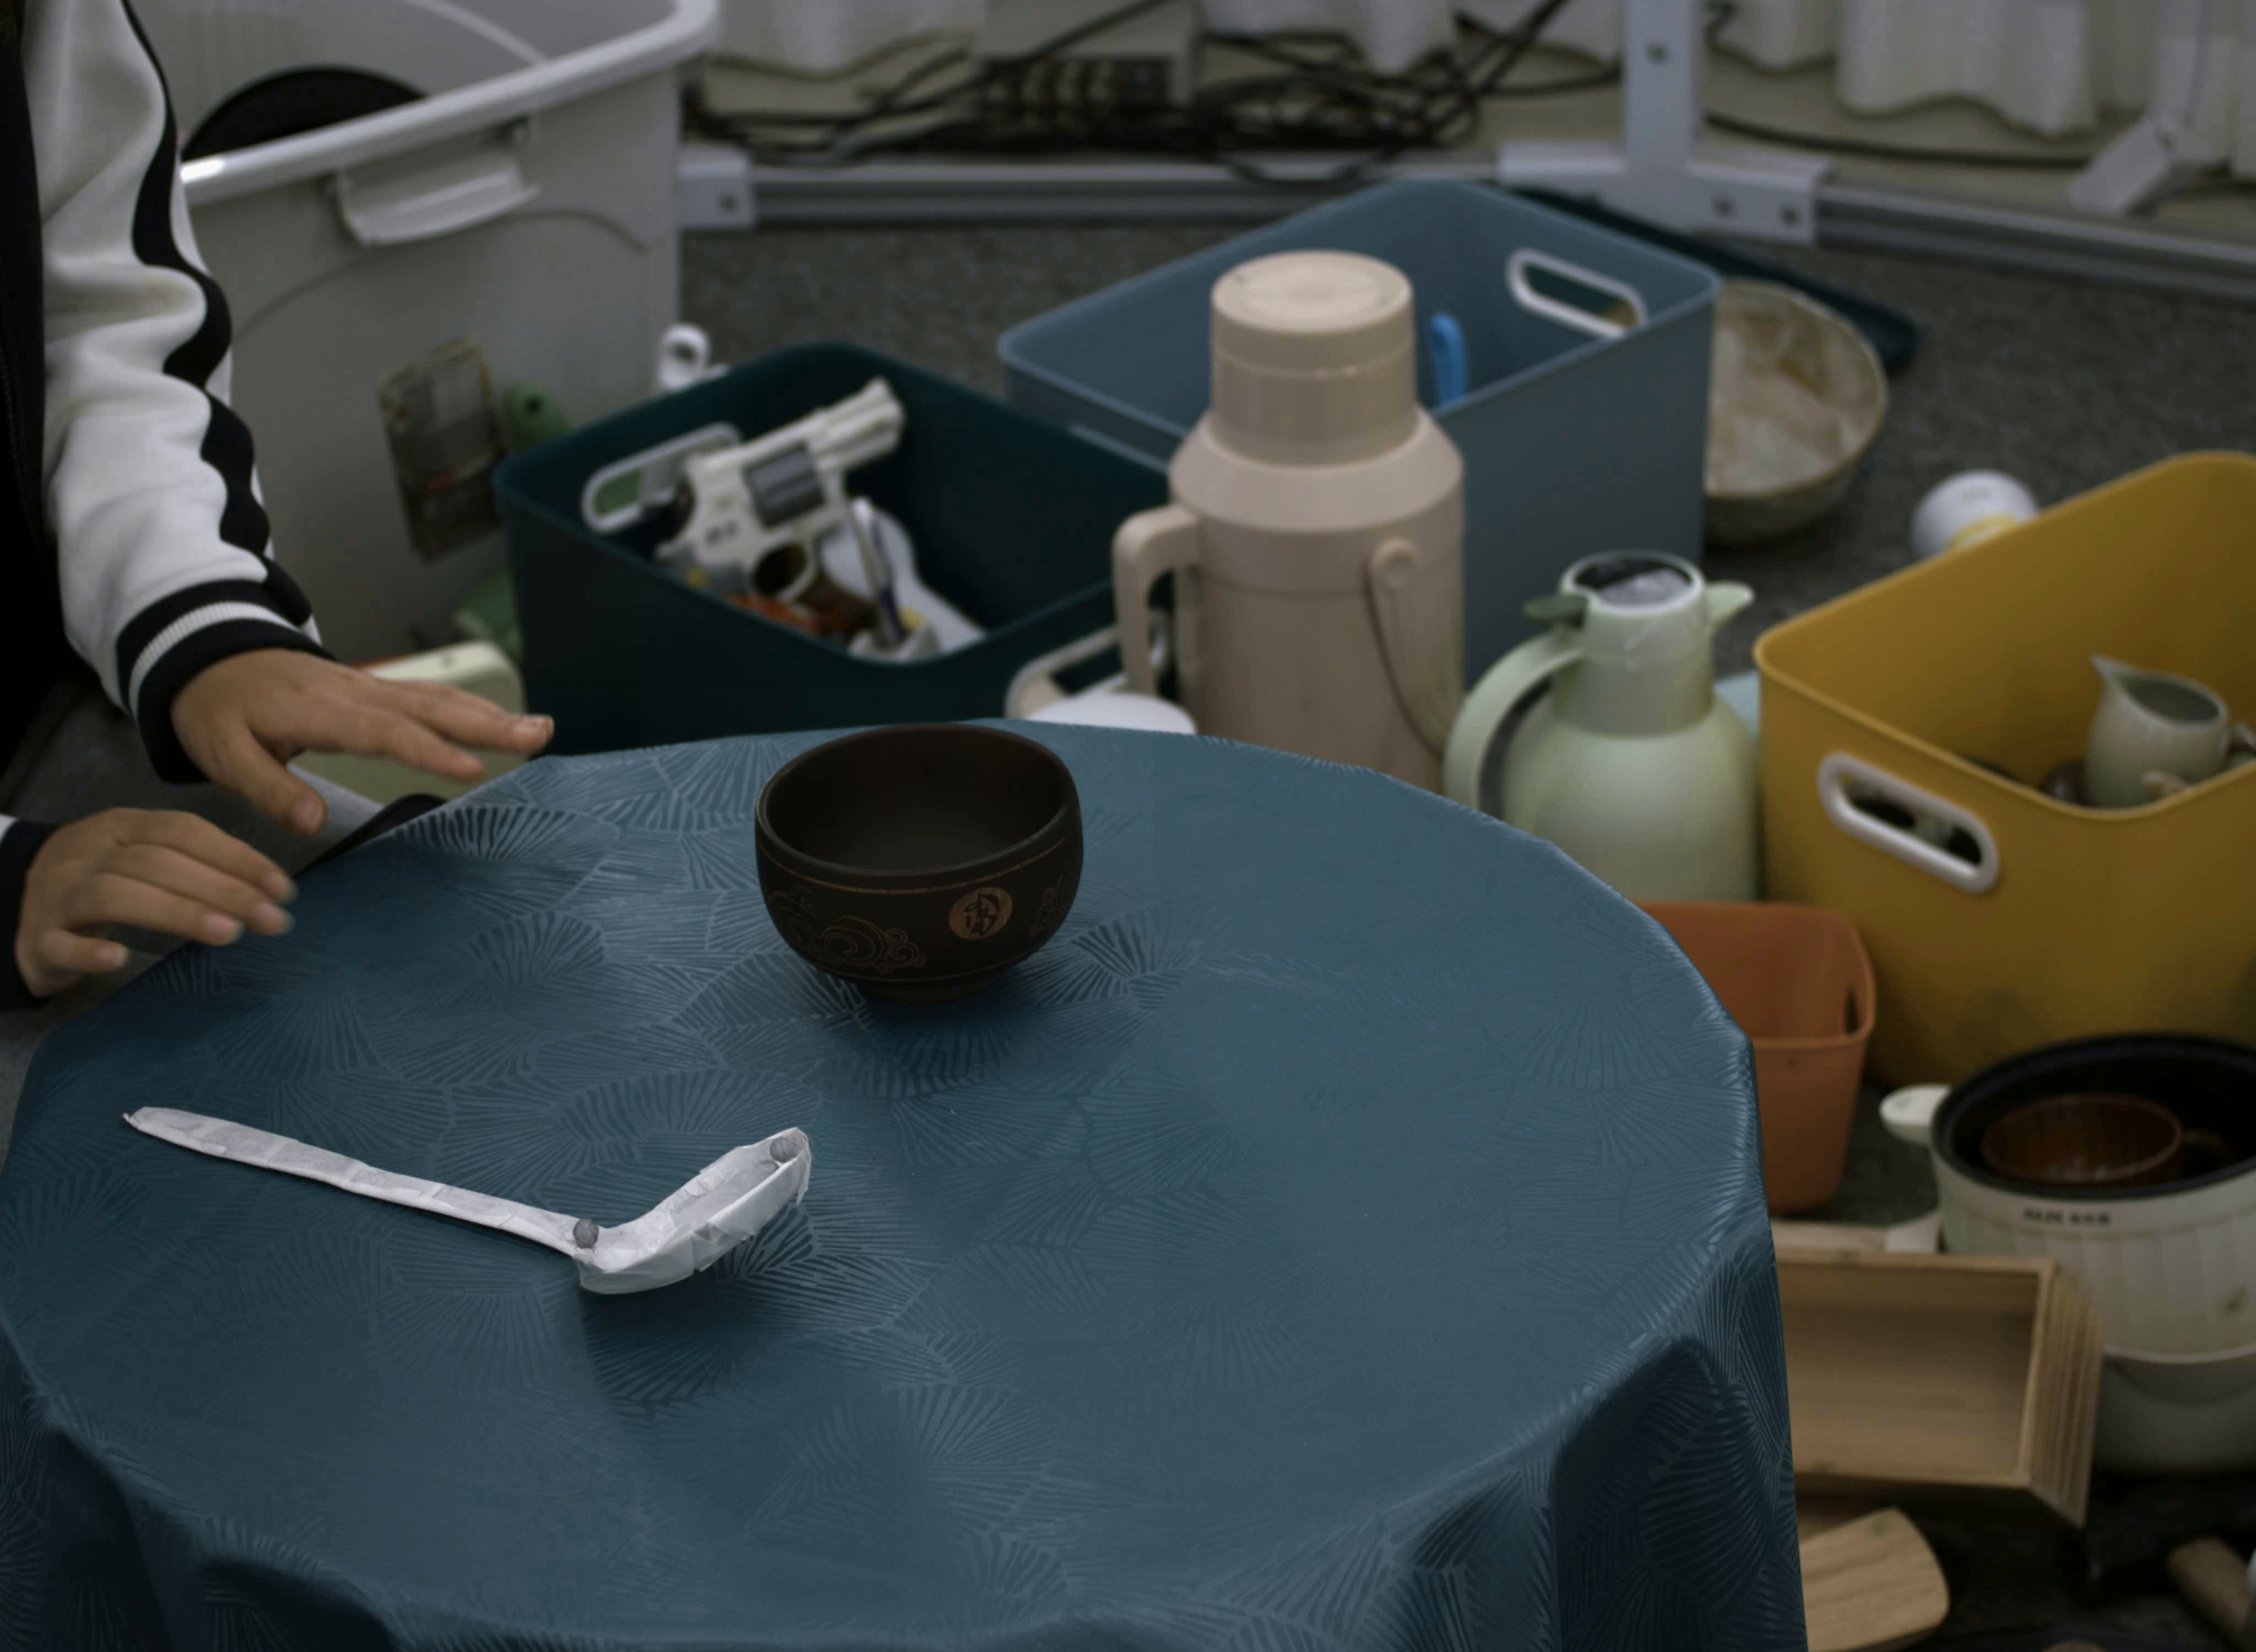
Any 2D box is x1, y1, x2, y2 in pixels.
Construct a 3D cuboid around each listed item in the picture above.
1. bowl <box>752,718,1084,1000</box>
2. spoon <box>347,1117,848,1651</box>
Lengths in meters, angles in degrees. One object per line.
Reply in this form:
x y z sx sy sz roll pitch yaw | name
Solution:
-0.073 0.018 1.990 0.117 0.069 0.120 -2 27 1 | bowl
-0.185 0.204 1.838 0.059 0.276 0.101 31 10 5 | spoon
